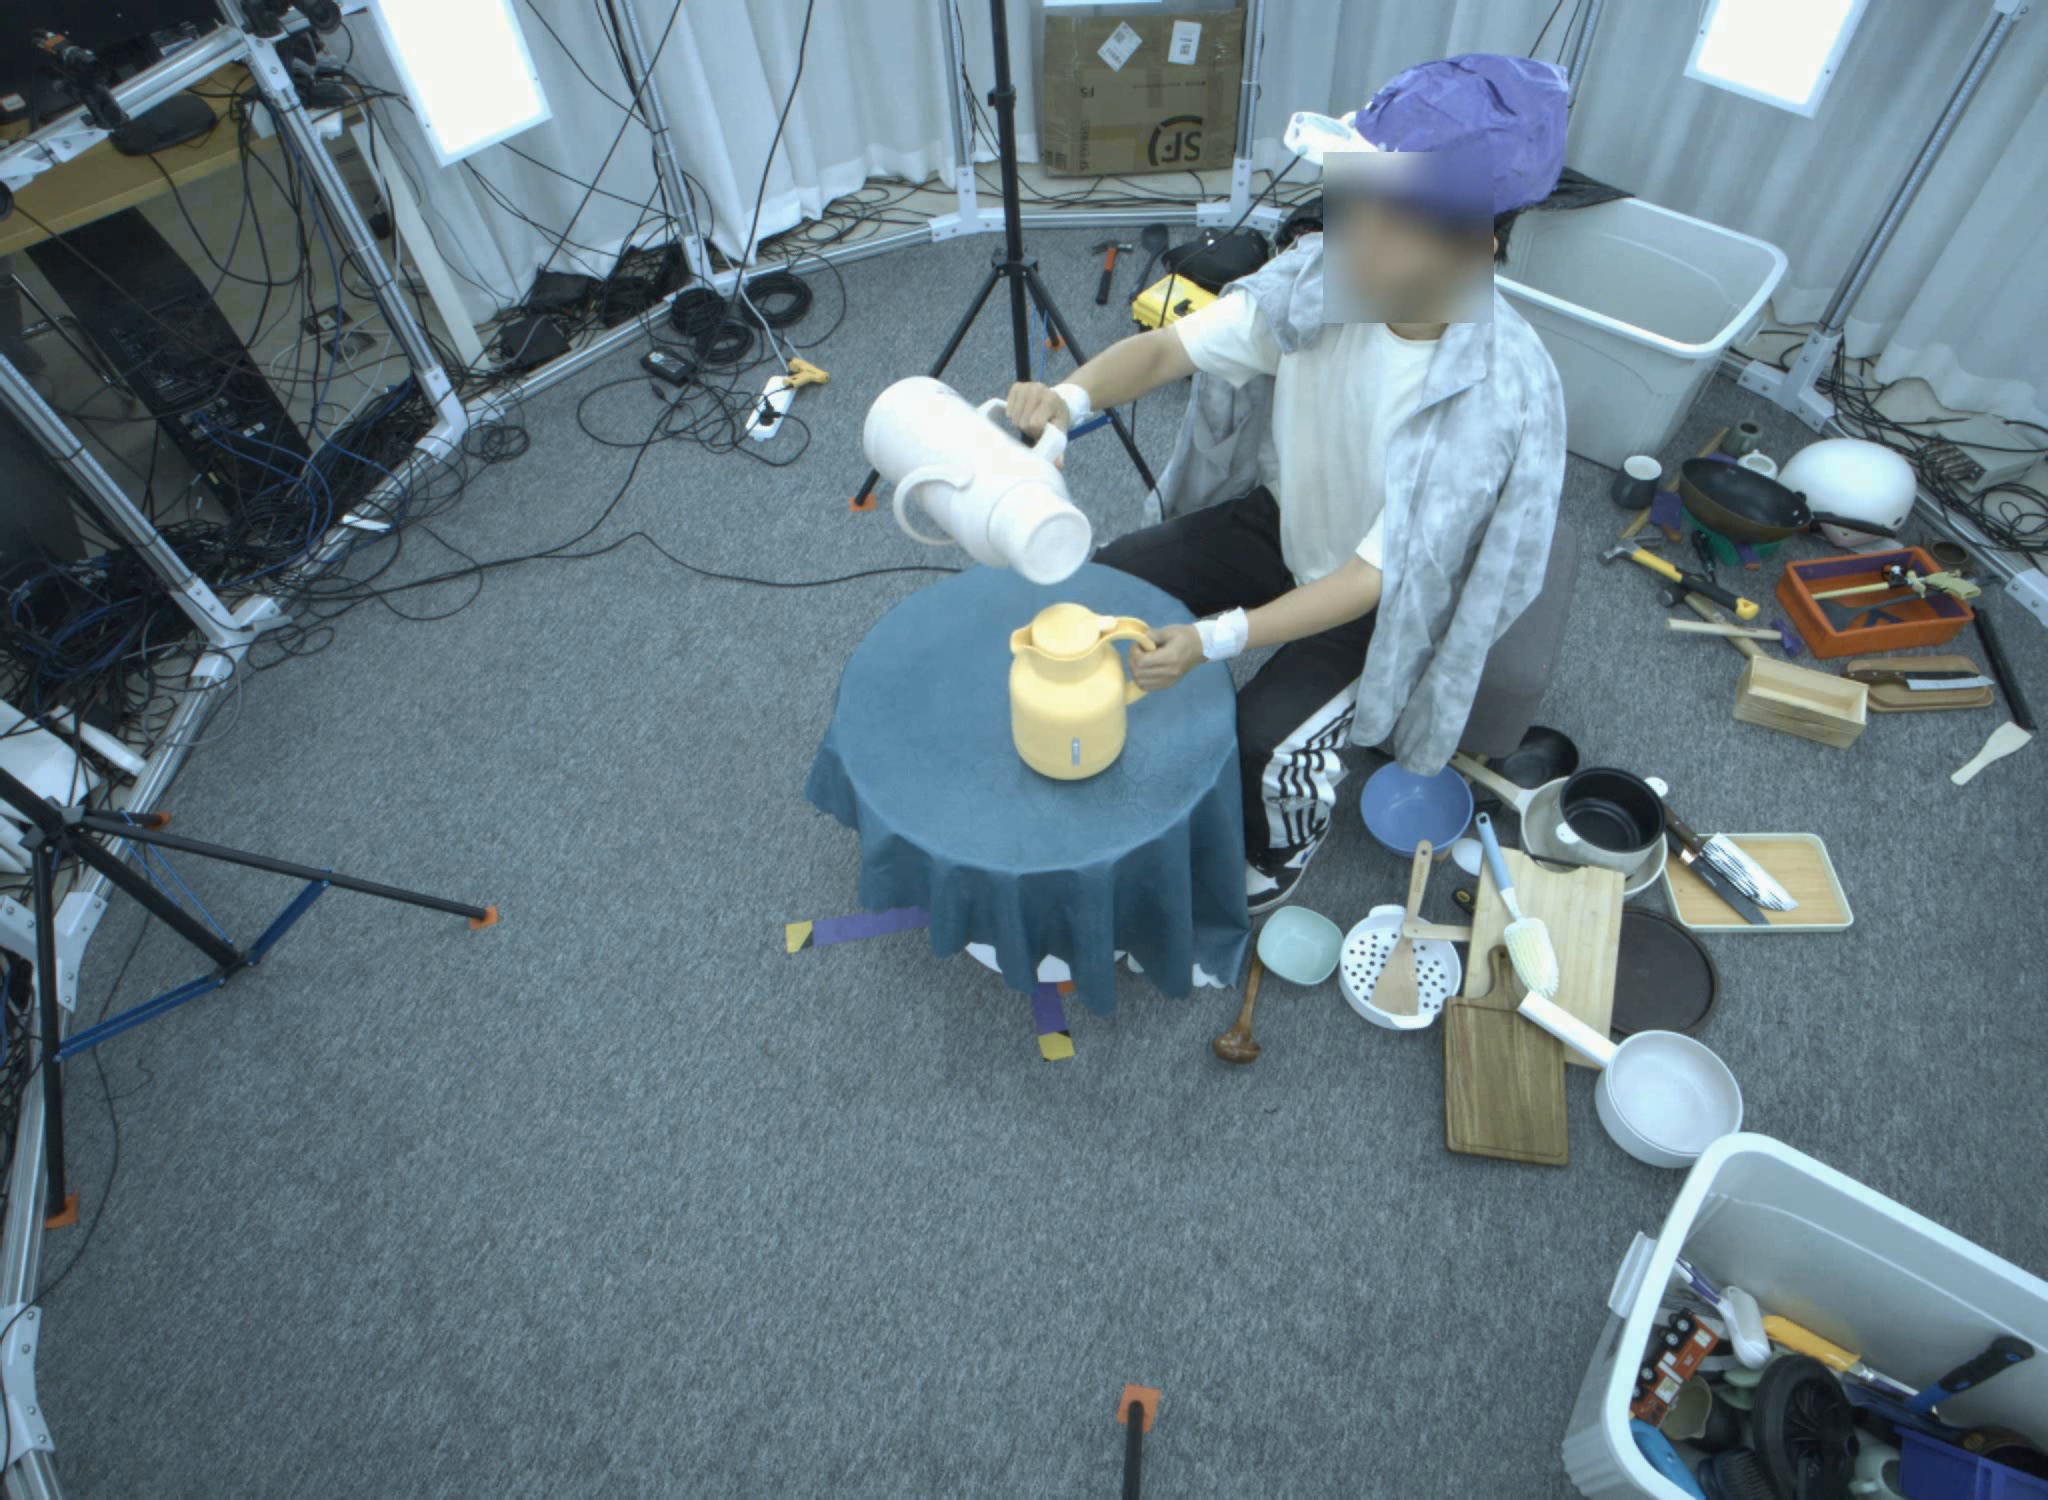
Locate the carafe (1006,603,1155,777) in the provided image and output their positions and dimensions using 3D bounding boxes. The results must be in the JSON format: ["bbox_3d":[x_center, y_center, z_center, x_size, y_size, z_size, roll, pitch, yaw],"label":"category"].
[{"bbox_3d":[0.078,-0.089,1.689,0.202,0.263,0.161,-8,57,-1],"label":"carafe"}]

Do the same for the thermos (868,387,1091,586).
[{"bbox_3d":[-0.053,-0.367,1.623,0.206,0.179,0.397,-53,48,12],"label":"thermos"}]
